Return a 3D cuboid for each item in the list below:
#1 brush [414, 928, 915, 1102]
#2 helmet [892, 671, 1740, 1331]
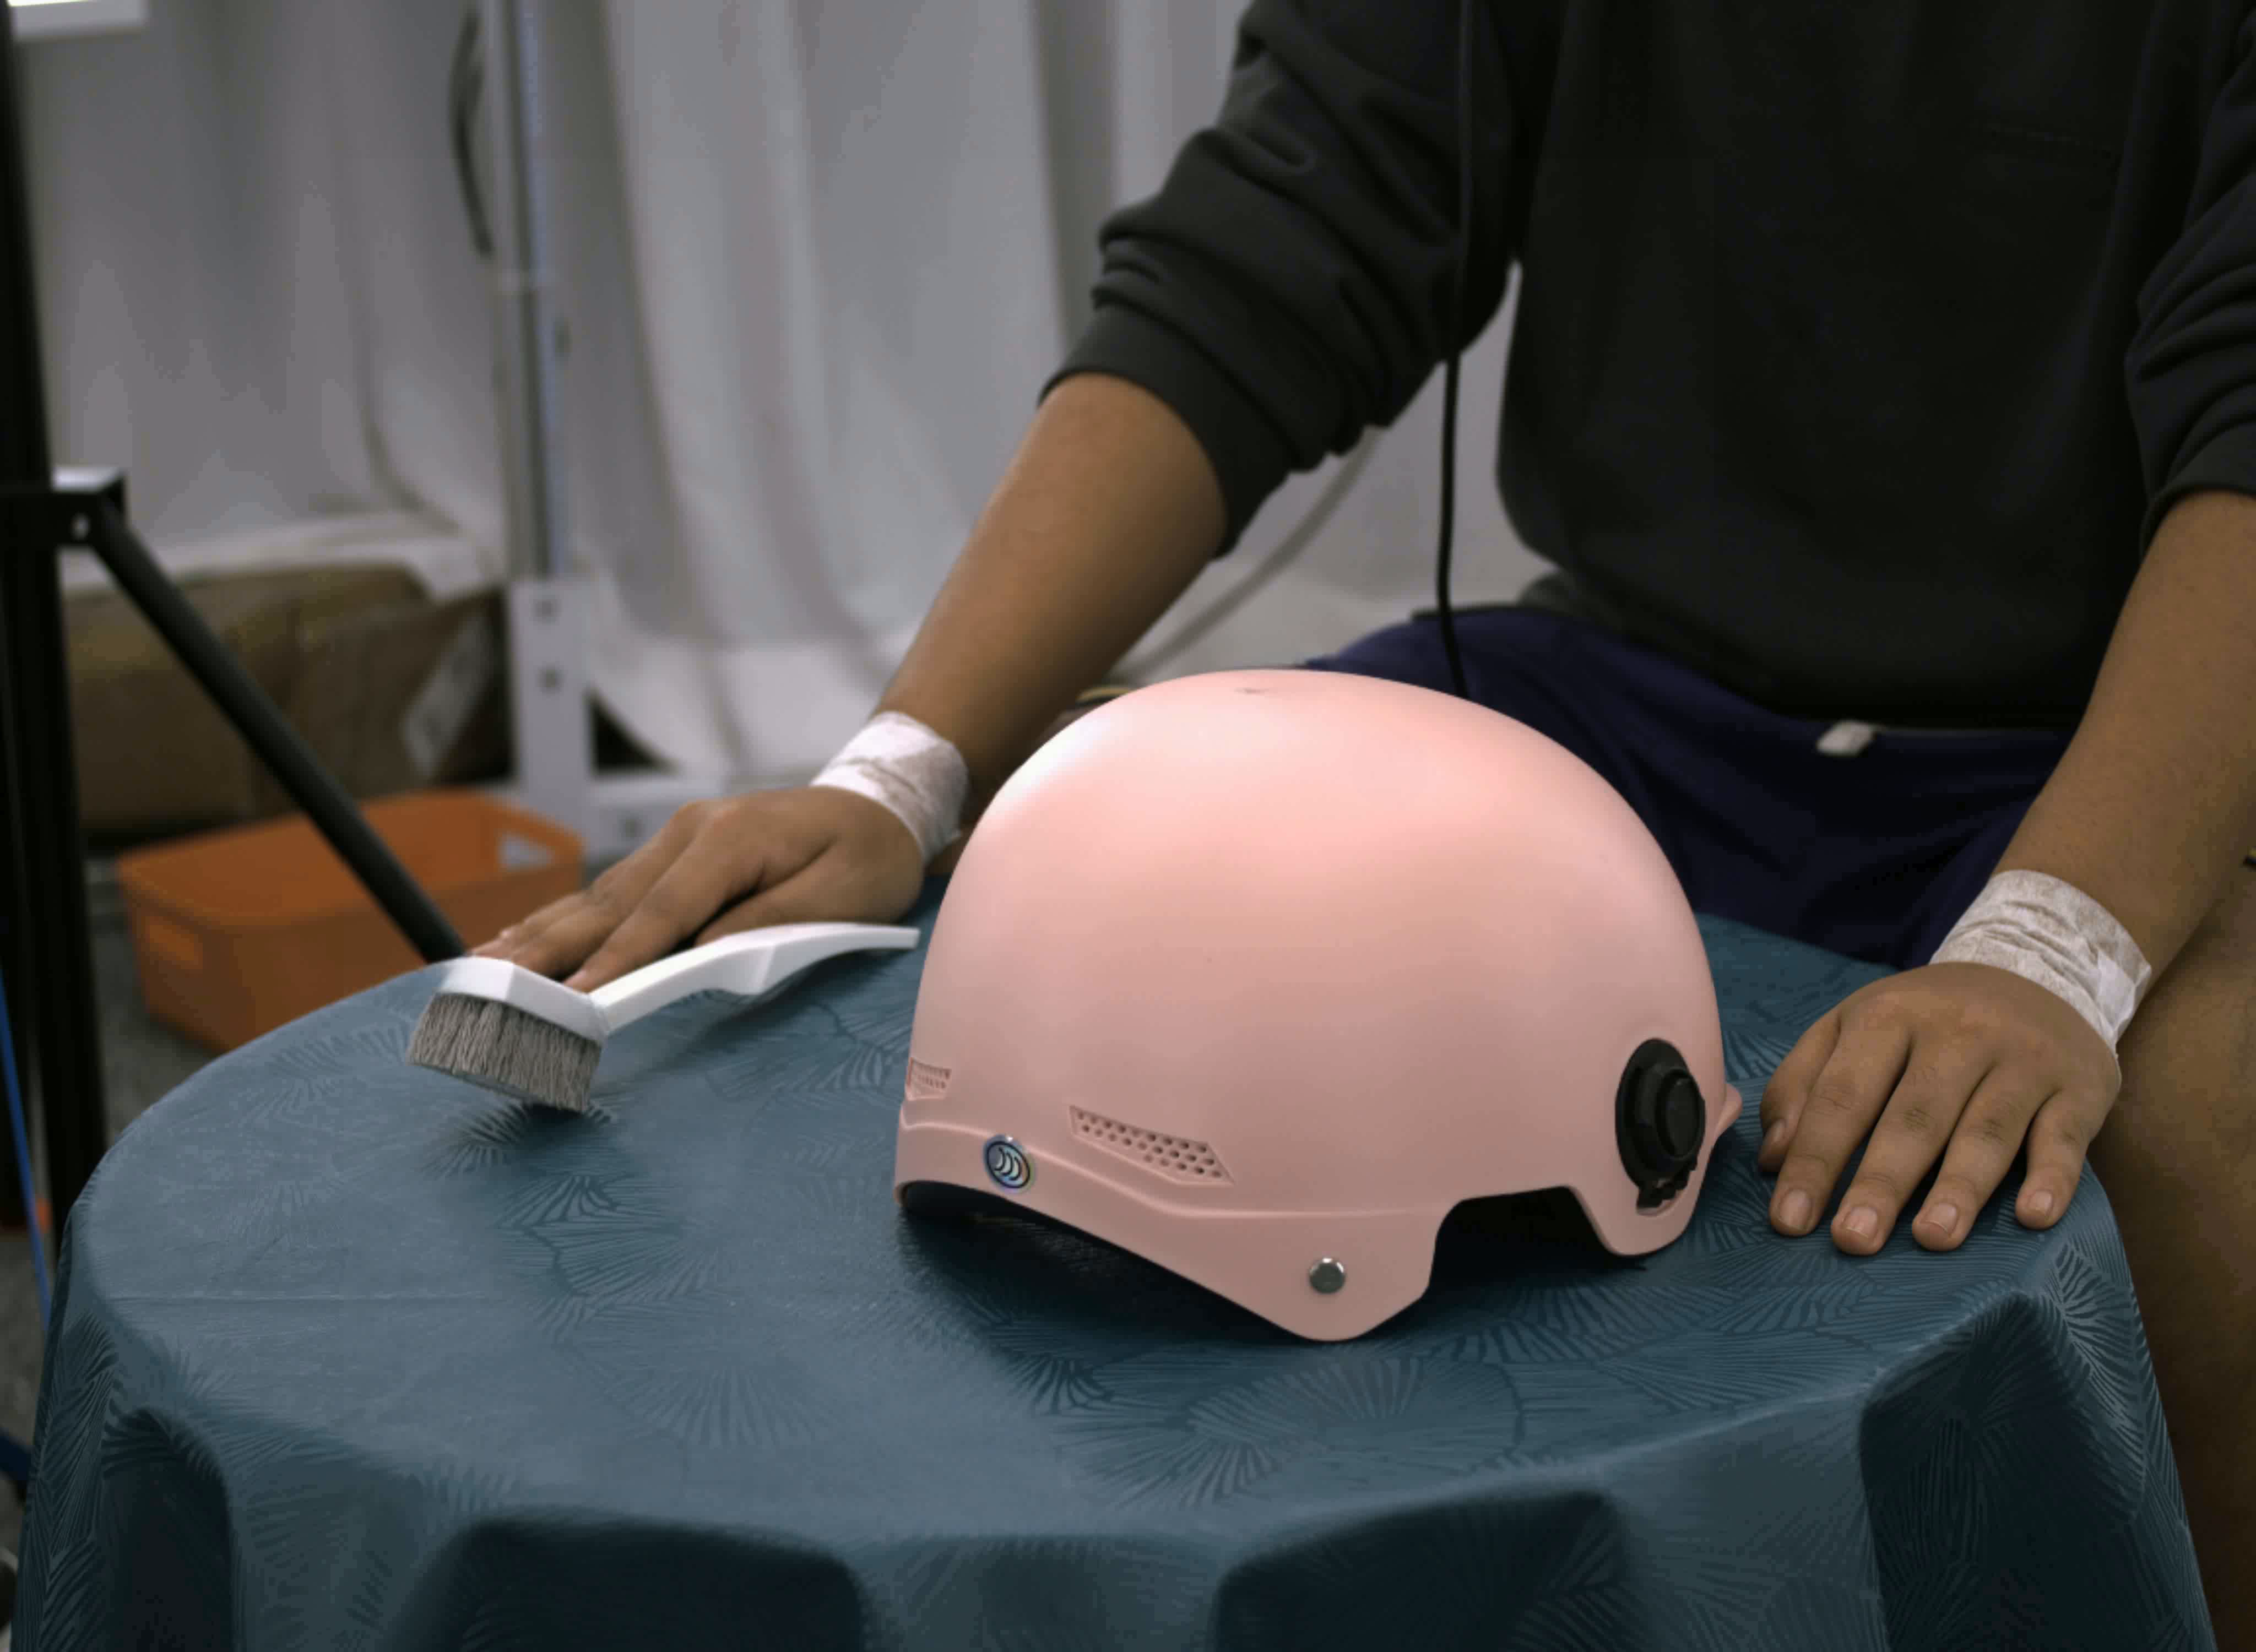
[{"bbox_3d":[-0.142,0.060,1.713,0.035,0.050,0.238,4,3,32],"label":"brush"},{"bbox_3d":[0.058,0.034,1.537,0.259,0.159,0.239,-11,16,-42],"label":"helmet"}]
